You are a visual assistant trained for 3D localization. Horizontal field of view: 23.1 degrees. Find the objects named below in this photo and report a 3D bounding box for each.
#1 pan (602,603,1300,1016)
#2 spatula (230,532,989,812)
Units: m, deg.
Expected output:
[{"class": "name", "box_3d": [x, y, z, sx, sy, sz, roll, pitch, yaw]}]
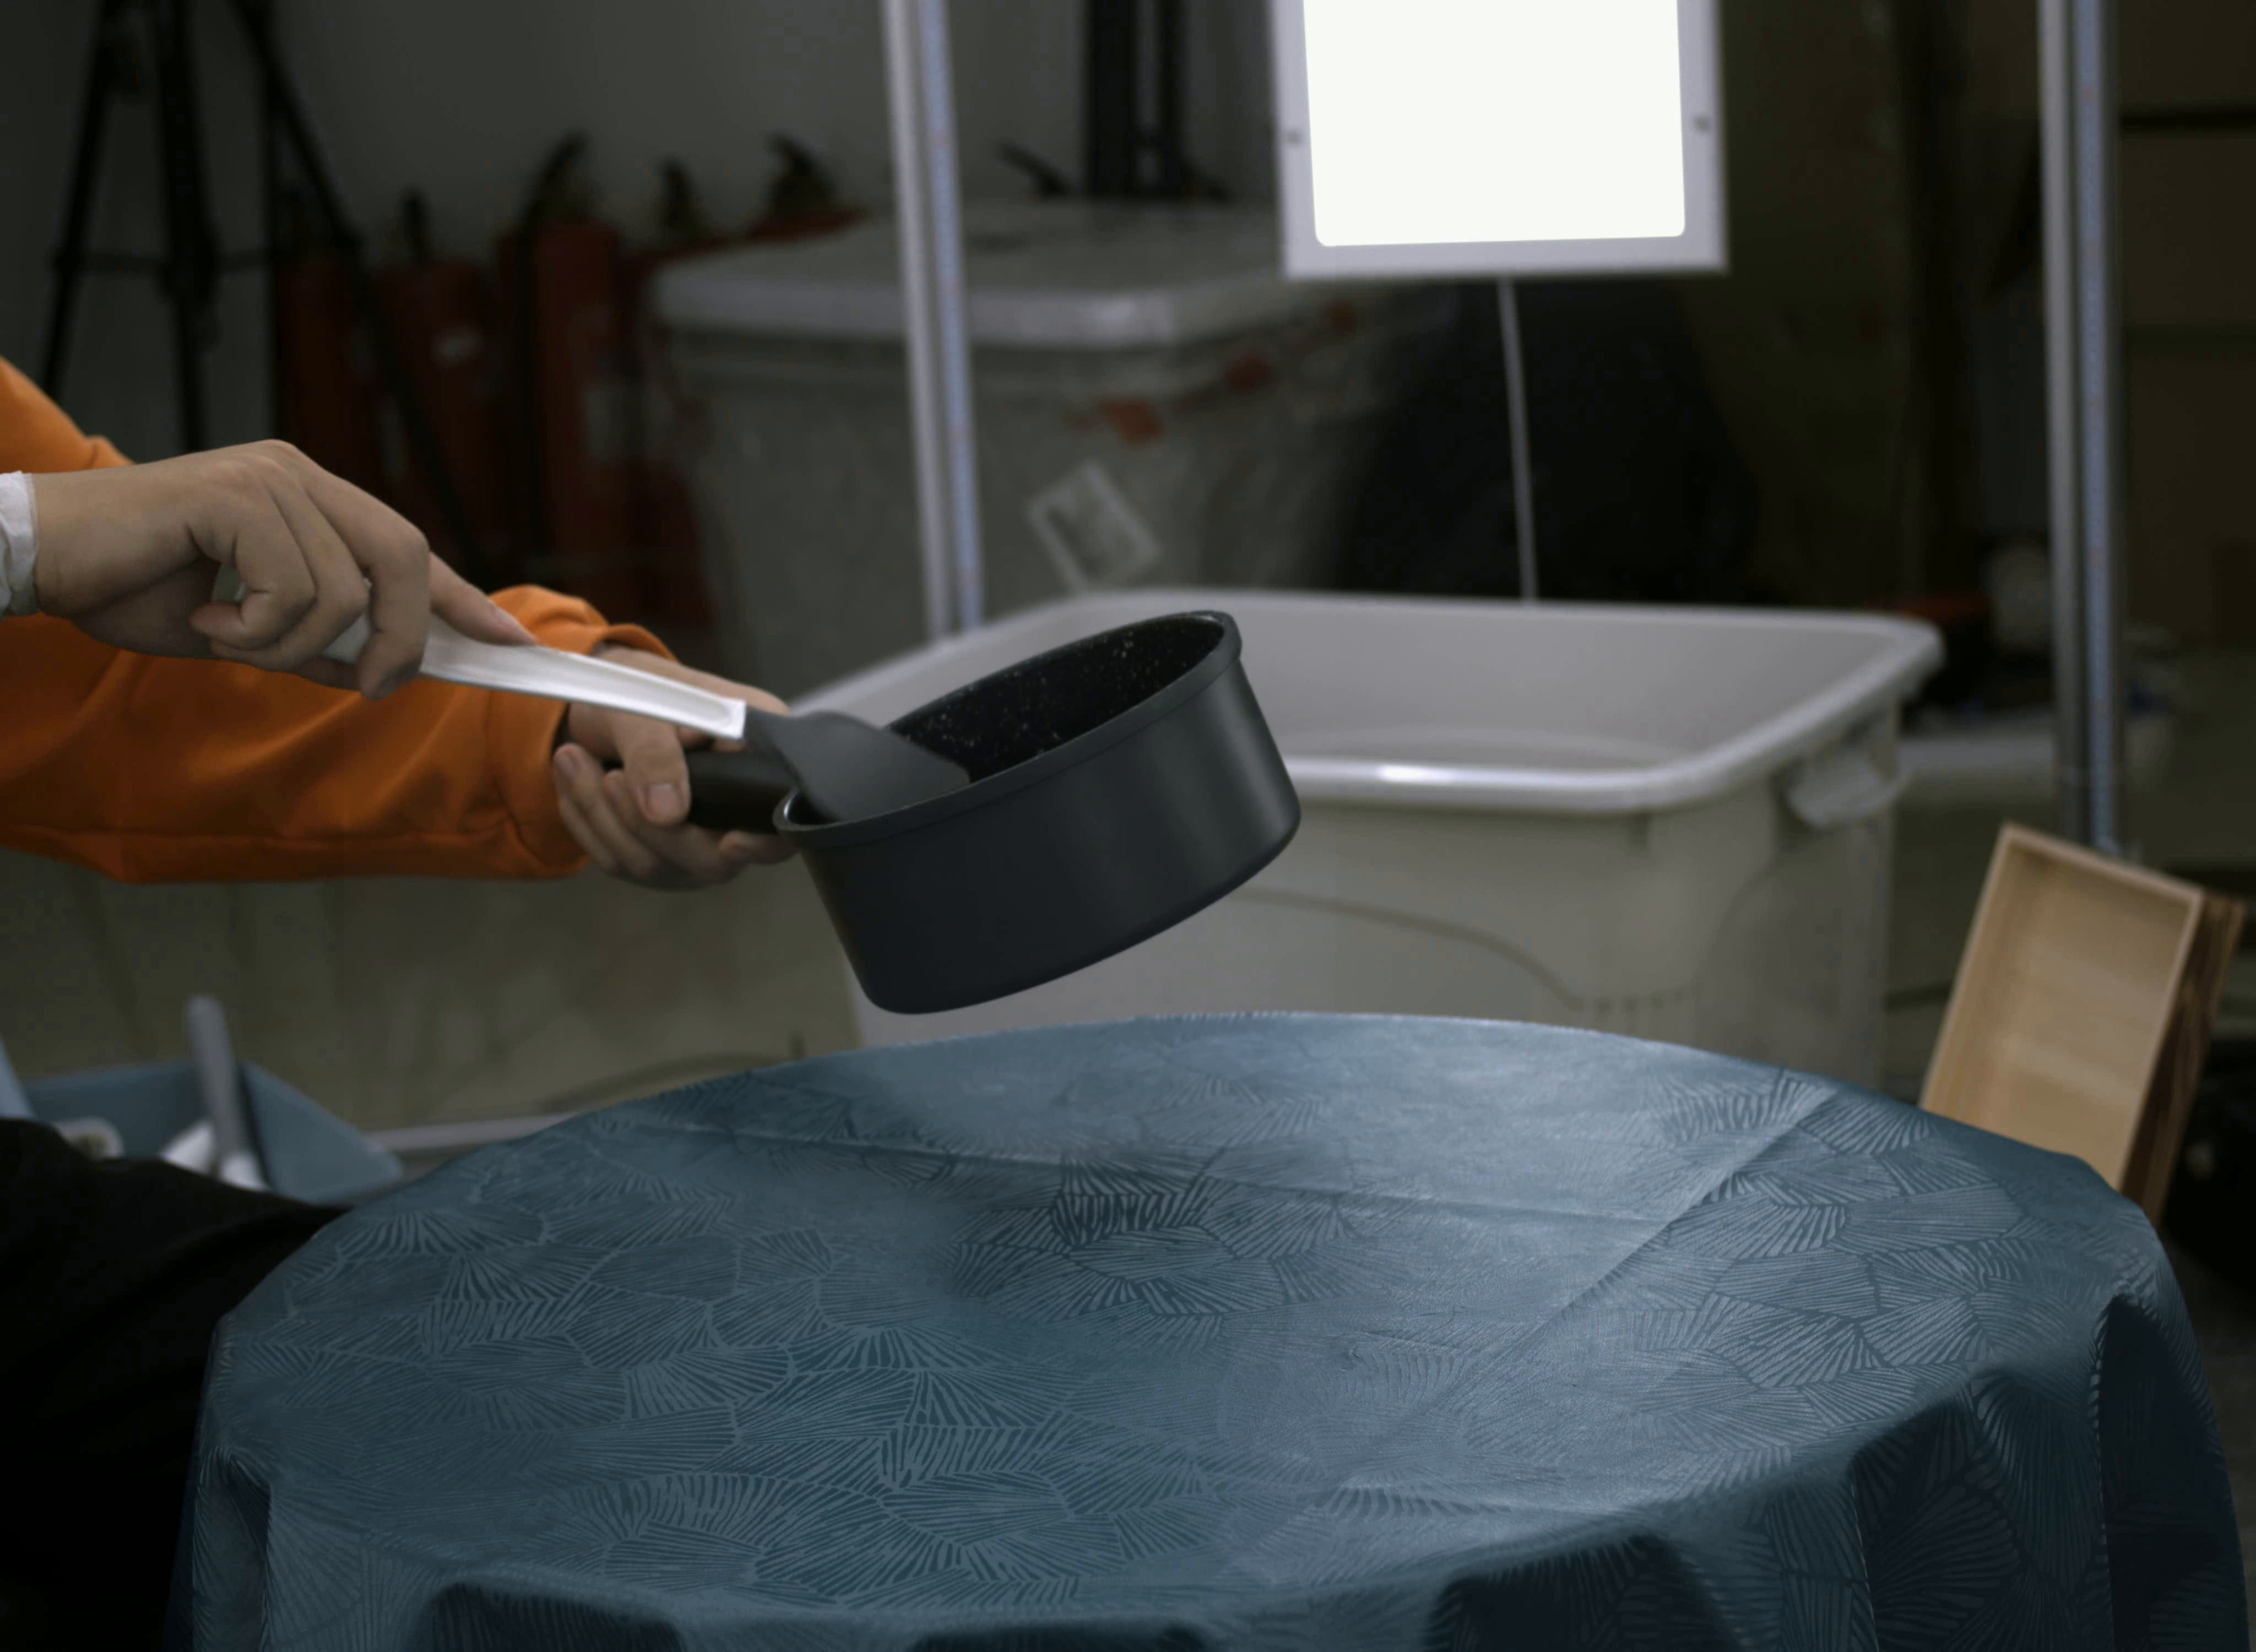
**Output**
[{"class": "pan", "box_3d": [-0.077, -0.001, 1.938, 0.168, 0.086, 0.336, -31, 15, -33]}, {"class": "spatula", "box_3d": [-0.164, -0.044, 1.857, 0.282, 0.058, 0.033, 17, -38, -26]}]
